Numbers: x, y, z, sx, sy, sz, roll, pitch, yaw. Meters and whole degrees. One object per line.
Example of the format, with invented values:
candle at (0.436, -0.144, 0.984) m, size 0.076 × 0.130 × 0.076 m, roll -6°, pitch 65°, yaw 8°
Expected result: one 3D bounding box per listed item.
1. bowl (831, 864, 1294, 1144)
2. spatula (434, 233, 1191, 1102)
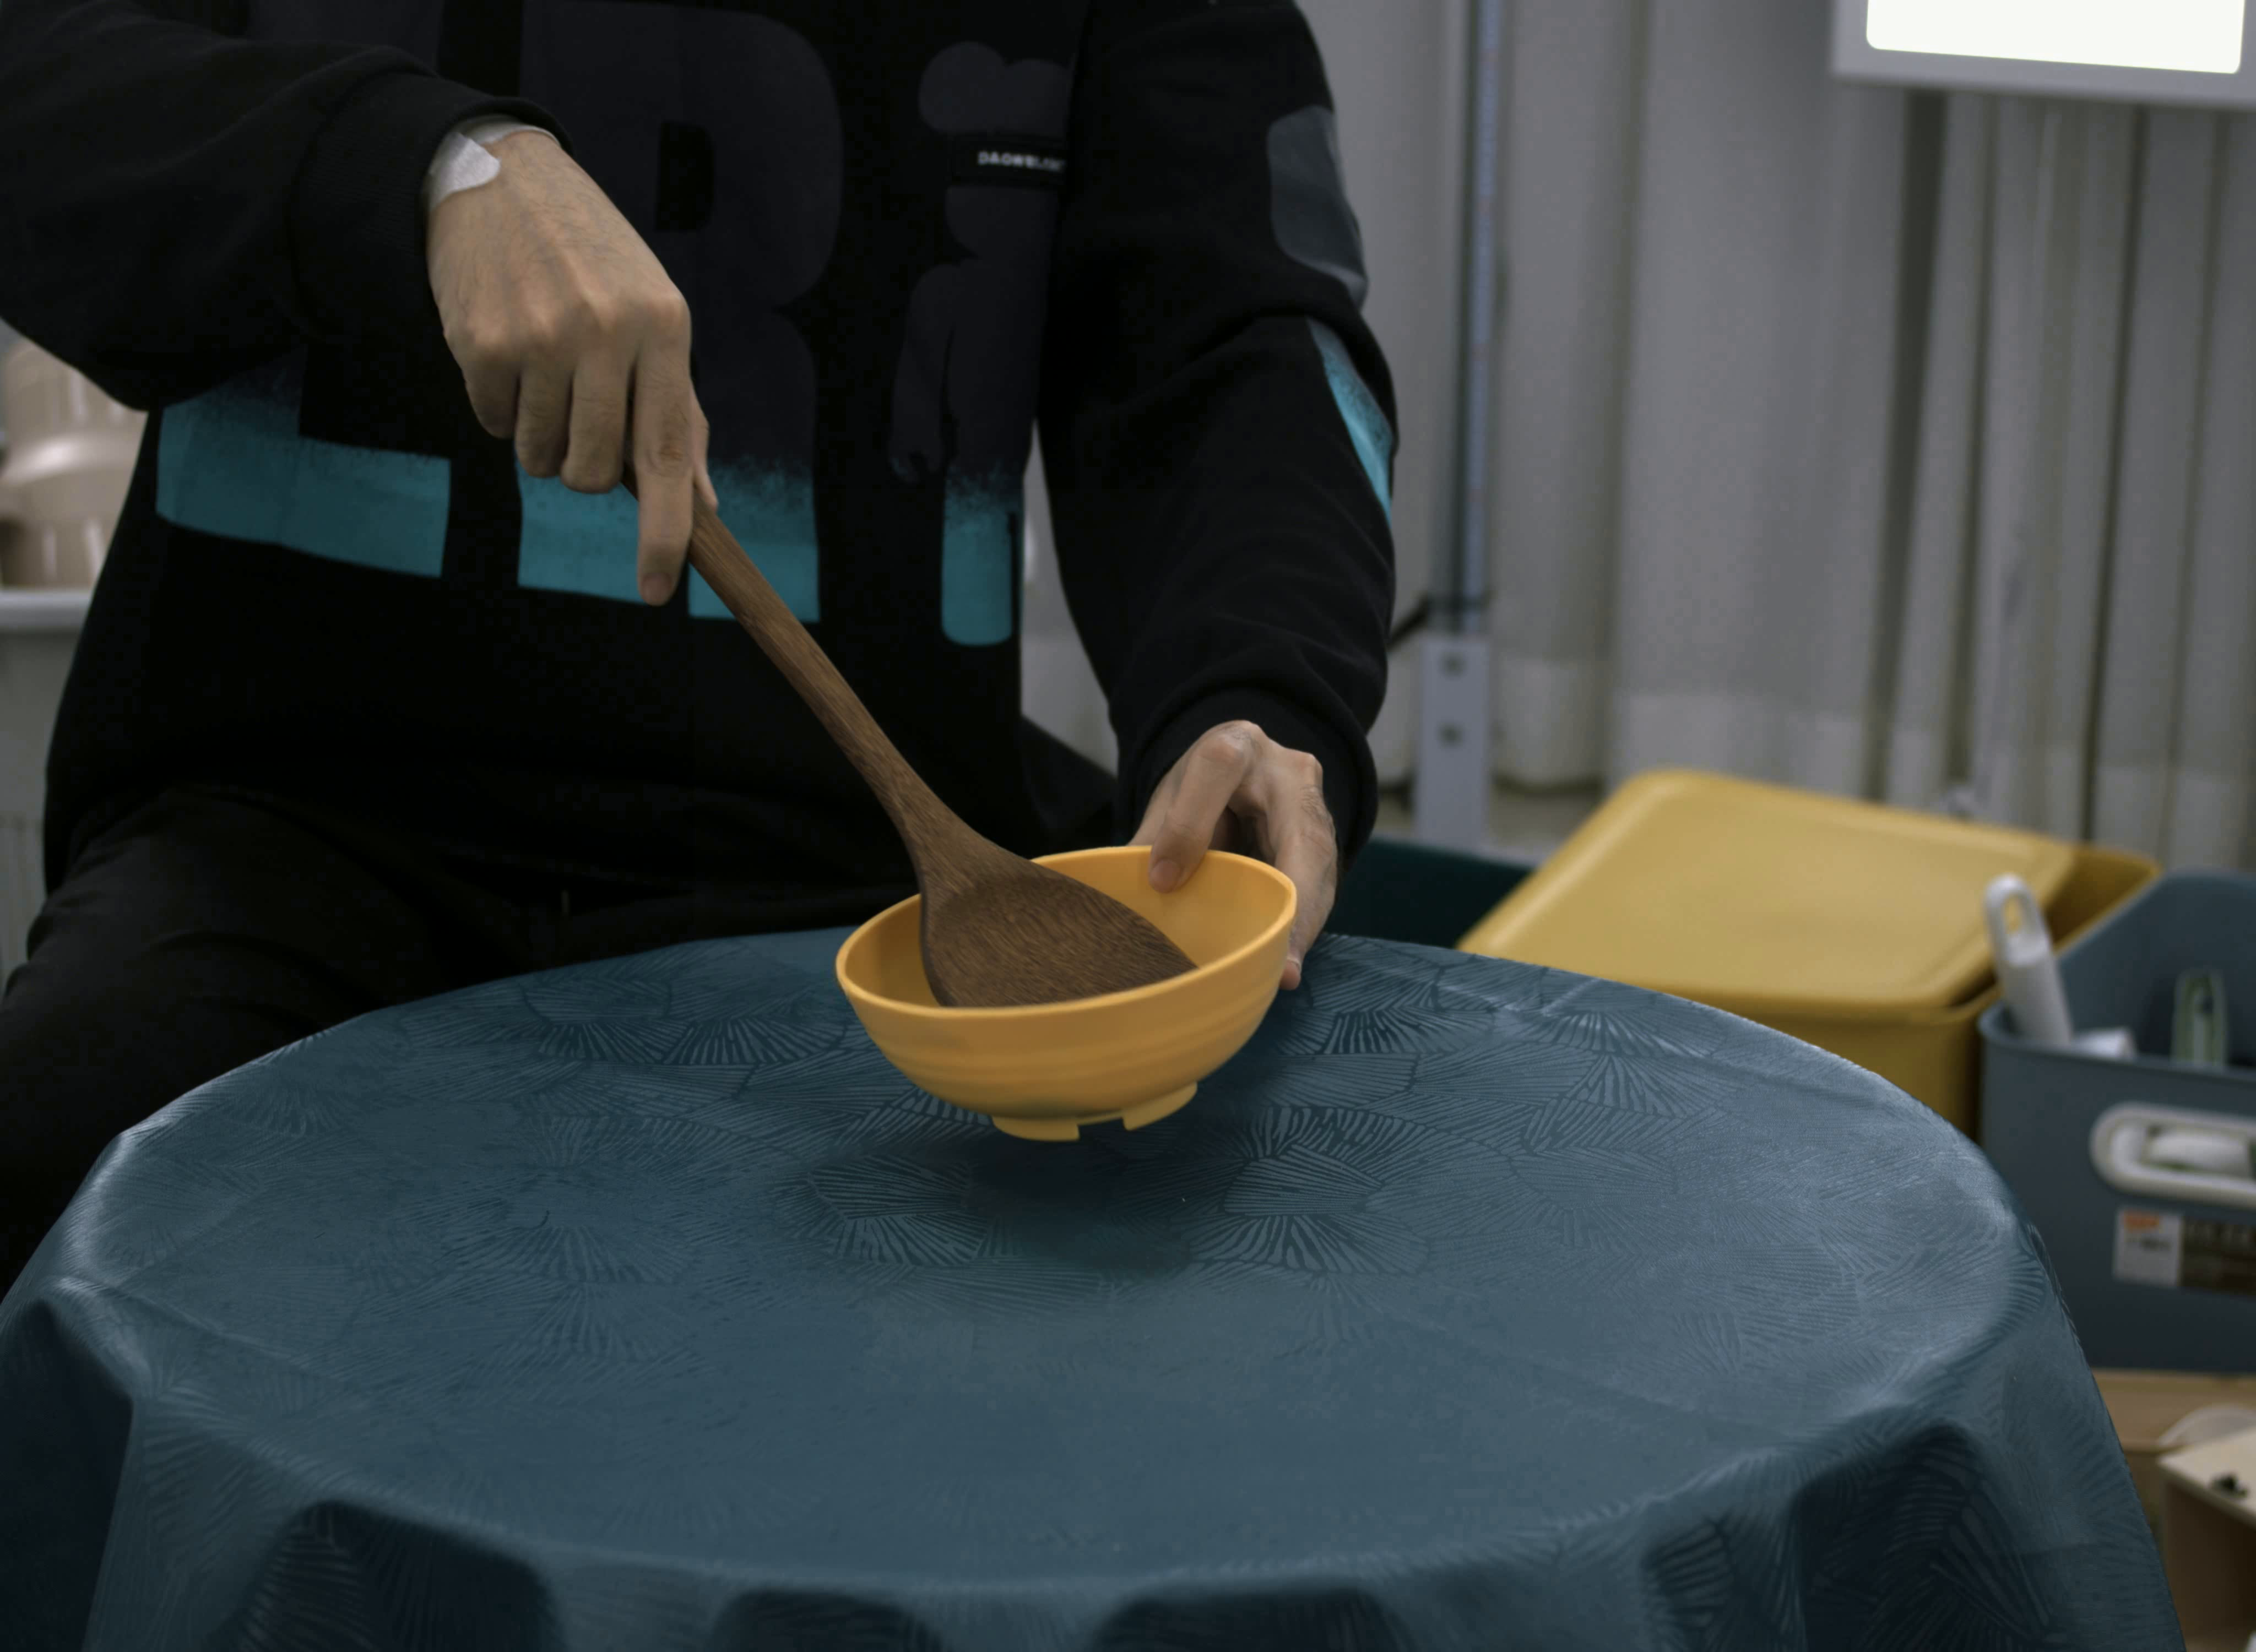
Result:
bowl at (-0.017, 0.060, 1.638) m, size 0.145 × 0.060 × 0.144 m, roll -6°, pitch 16°, yaw 2°
spatula at (-0.109, -0.058, 1.678) m, size 0.096 × 0.016 × 0.383 m, roll -21°, pitch 64°, yaw -45°
